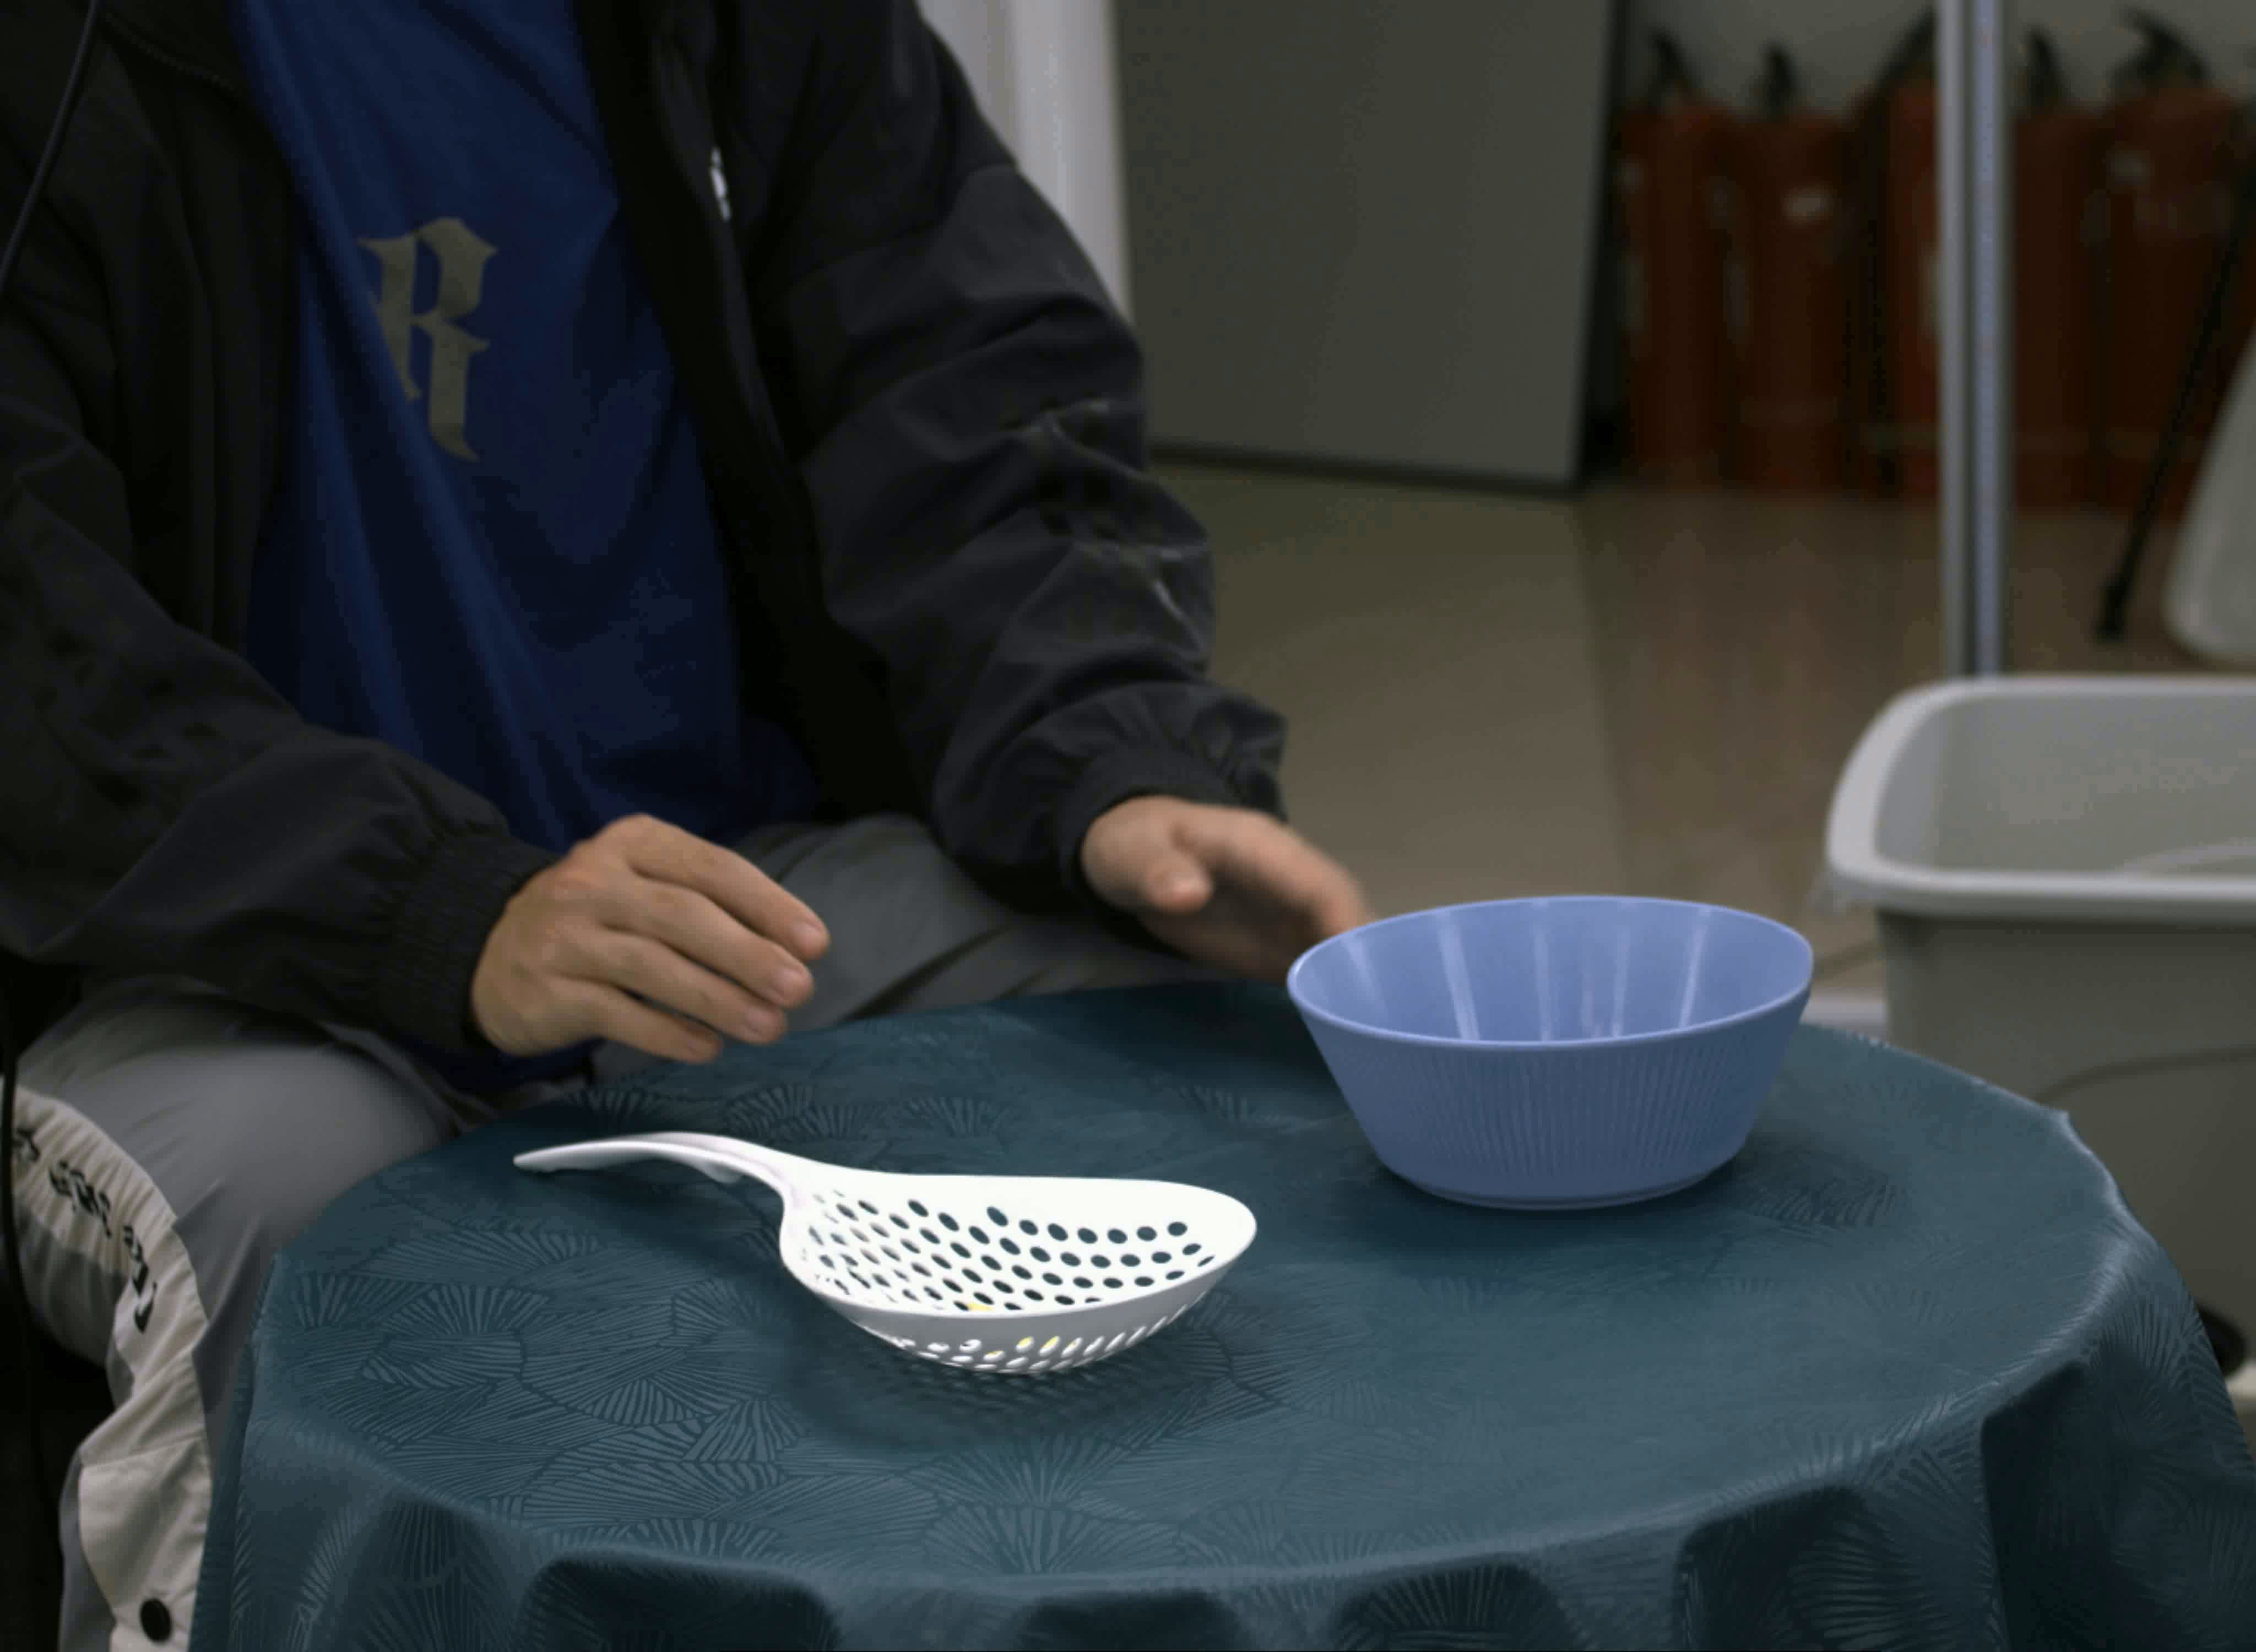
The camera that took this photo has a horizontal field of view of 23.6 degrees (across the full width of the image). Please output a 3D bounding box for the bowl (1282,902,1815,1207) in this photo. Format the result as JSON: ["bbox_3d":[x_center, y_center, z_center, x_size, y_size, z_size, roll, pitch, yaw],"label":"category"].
[{"bbox_3d":[0.139,0.077,1.765,0.174,0.071,0.176,-4,13,0],"label":"bowl"}]

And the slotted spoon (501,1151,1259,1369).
[{"bbox_3d":[-0.095,0.124,1.699,0.134,0.051,0.351,-19,19,-35],"label":"slotted spoon"}]
